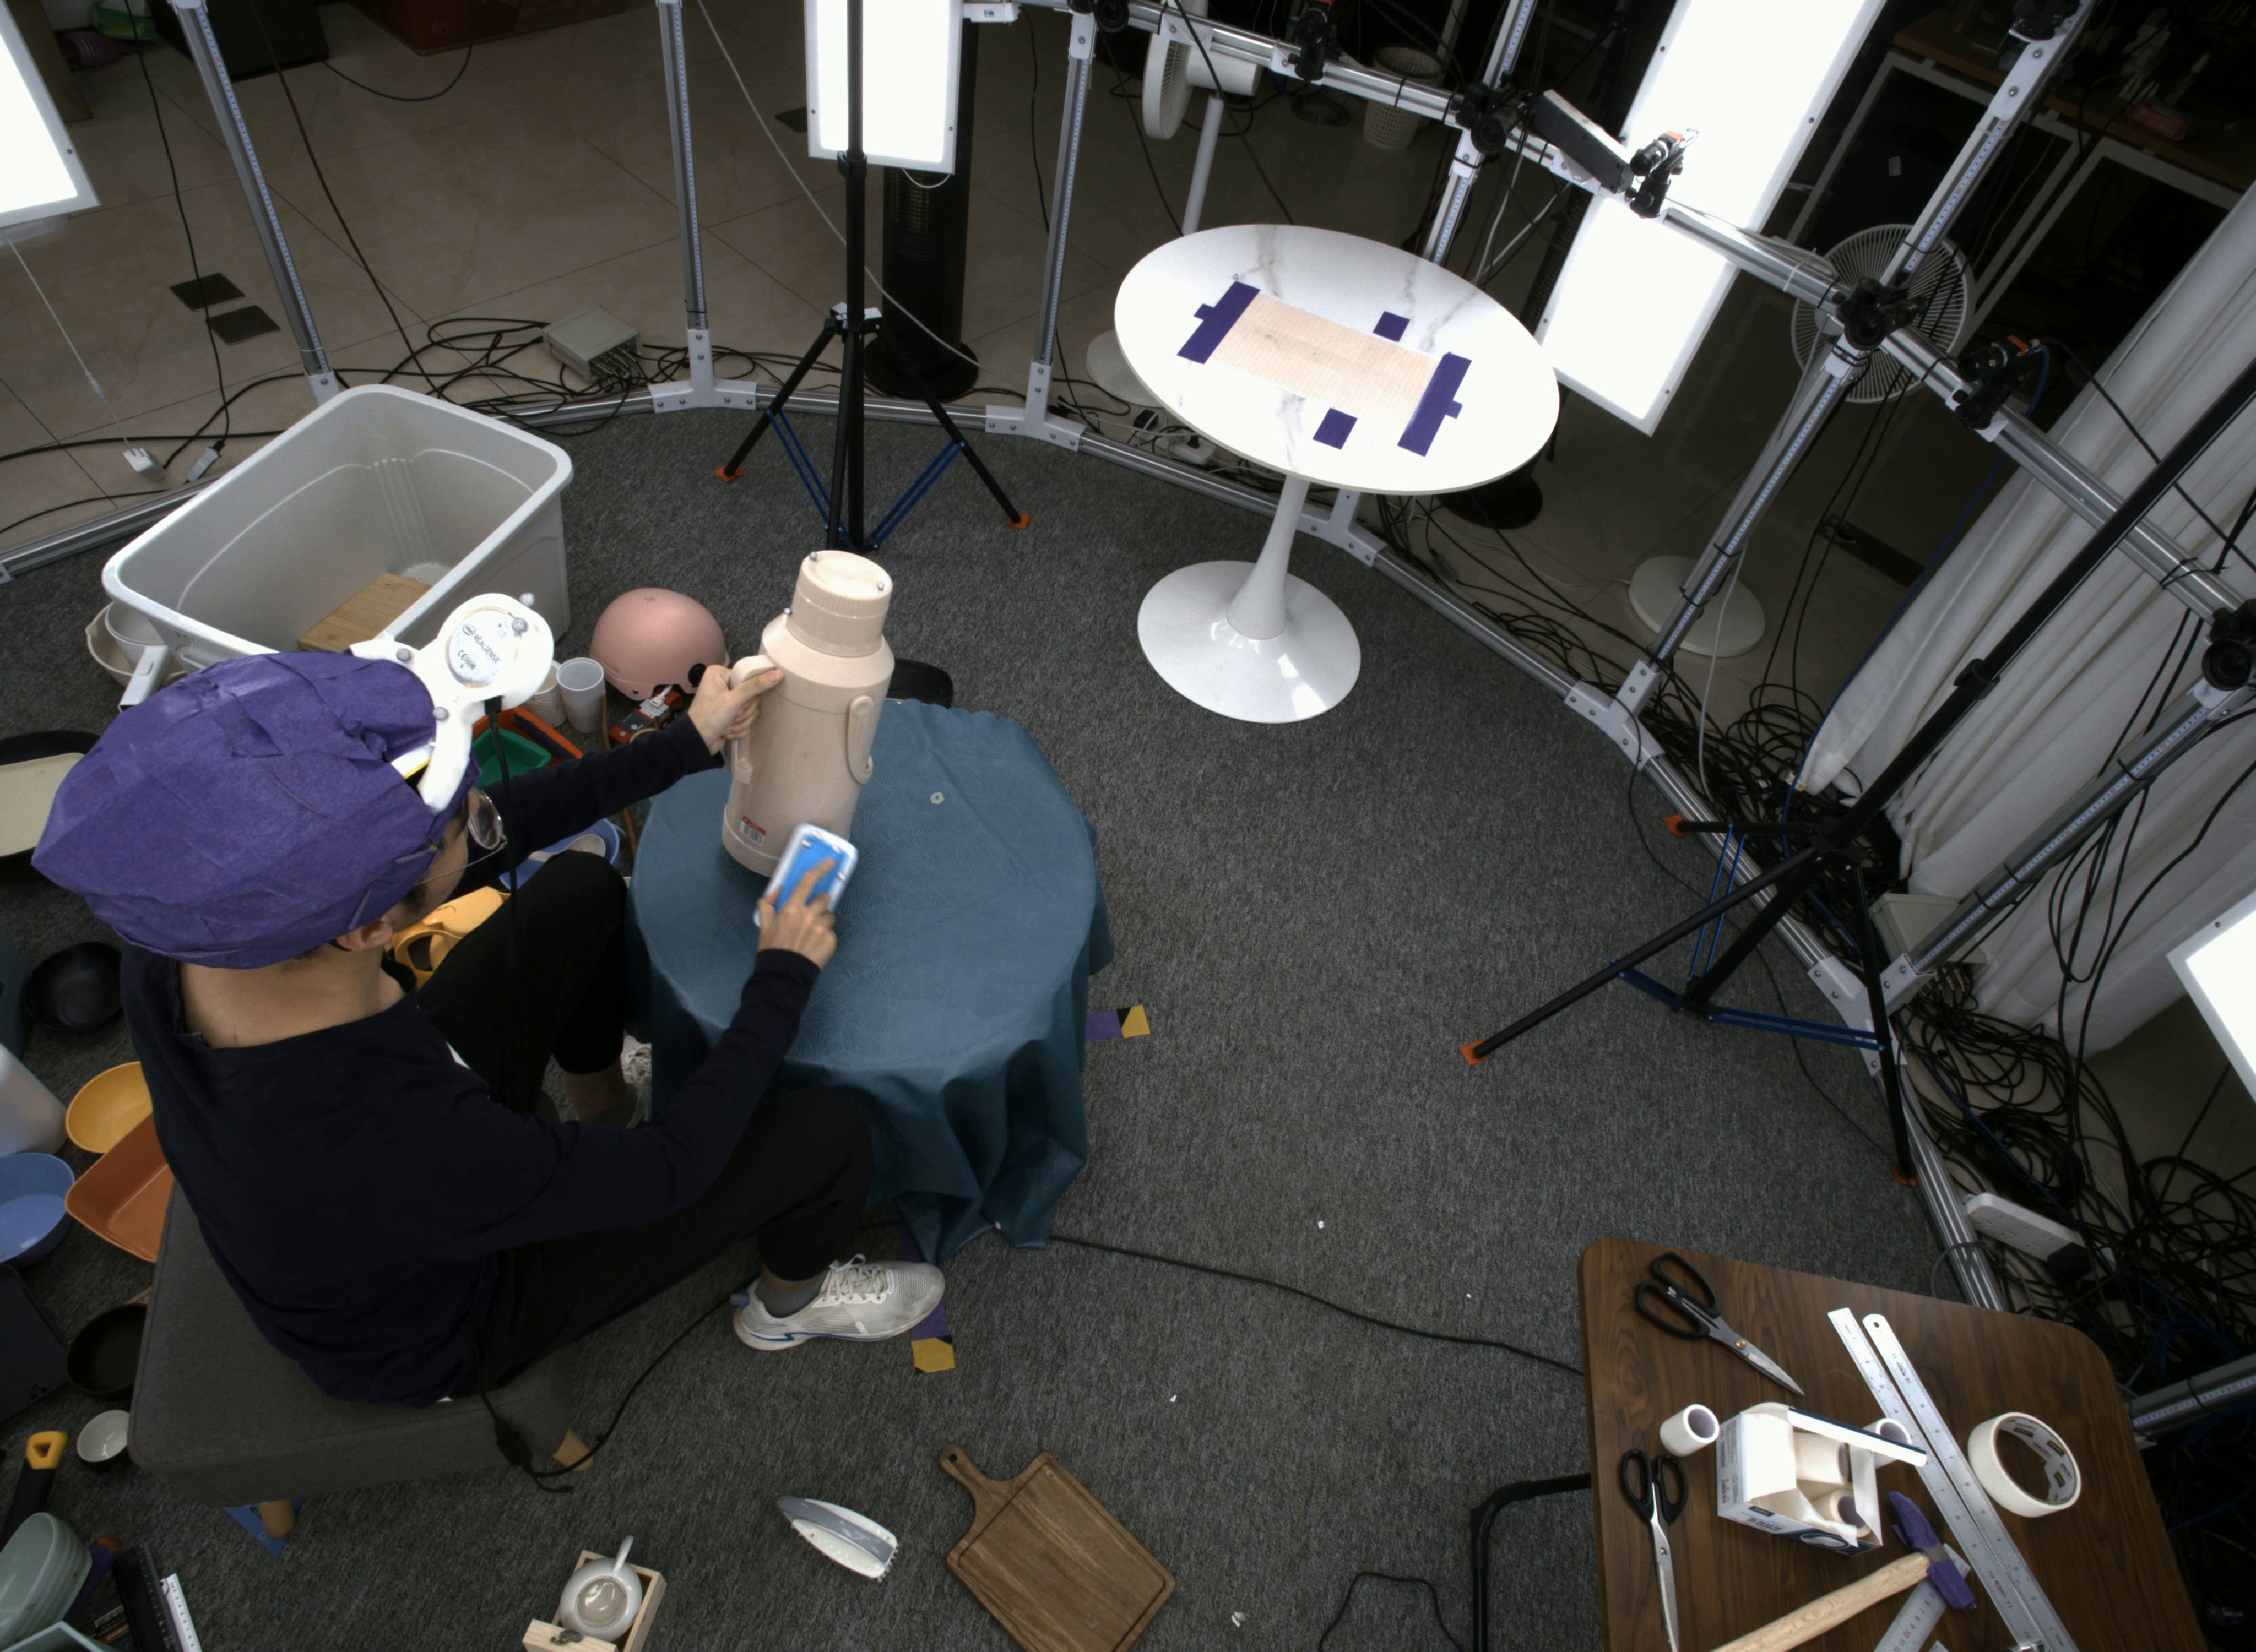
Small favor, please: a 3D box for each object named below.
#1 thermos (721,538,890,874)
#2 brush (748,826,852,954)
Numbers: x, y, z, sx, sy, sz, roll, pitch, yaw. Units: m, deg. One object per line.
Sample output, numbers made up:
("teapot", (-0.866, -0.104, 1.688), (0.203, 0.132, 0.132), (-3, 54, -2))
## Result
("thermos", (-0.395, -0.137, 1.557), (0.209, 0.413, 0.170), (-18, 53, -43))
("brush", (-0.393, 0.072, 1.542), (0.083, 0.056, 0.144), (26, 83, -3))
